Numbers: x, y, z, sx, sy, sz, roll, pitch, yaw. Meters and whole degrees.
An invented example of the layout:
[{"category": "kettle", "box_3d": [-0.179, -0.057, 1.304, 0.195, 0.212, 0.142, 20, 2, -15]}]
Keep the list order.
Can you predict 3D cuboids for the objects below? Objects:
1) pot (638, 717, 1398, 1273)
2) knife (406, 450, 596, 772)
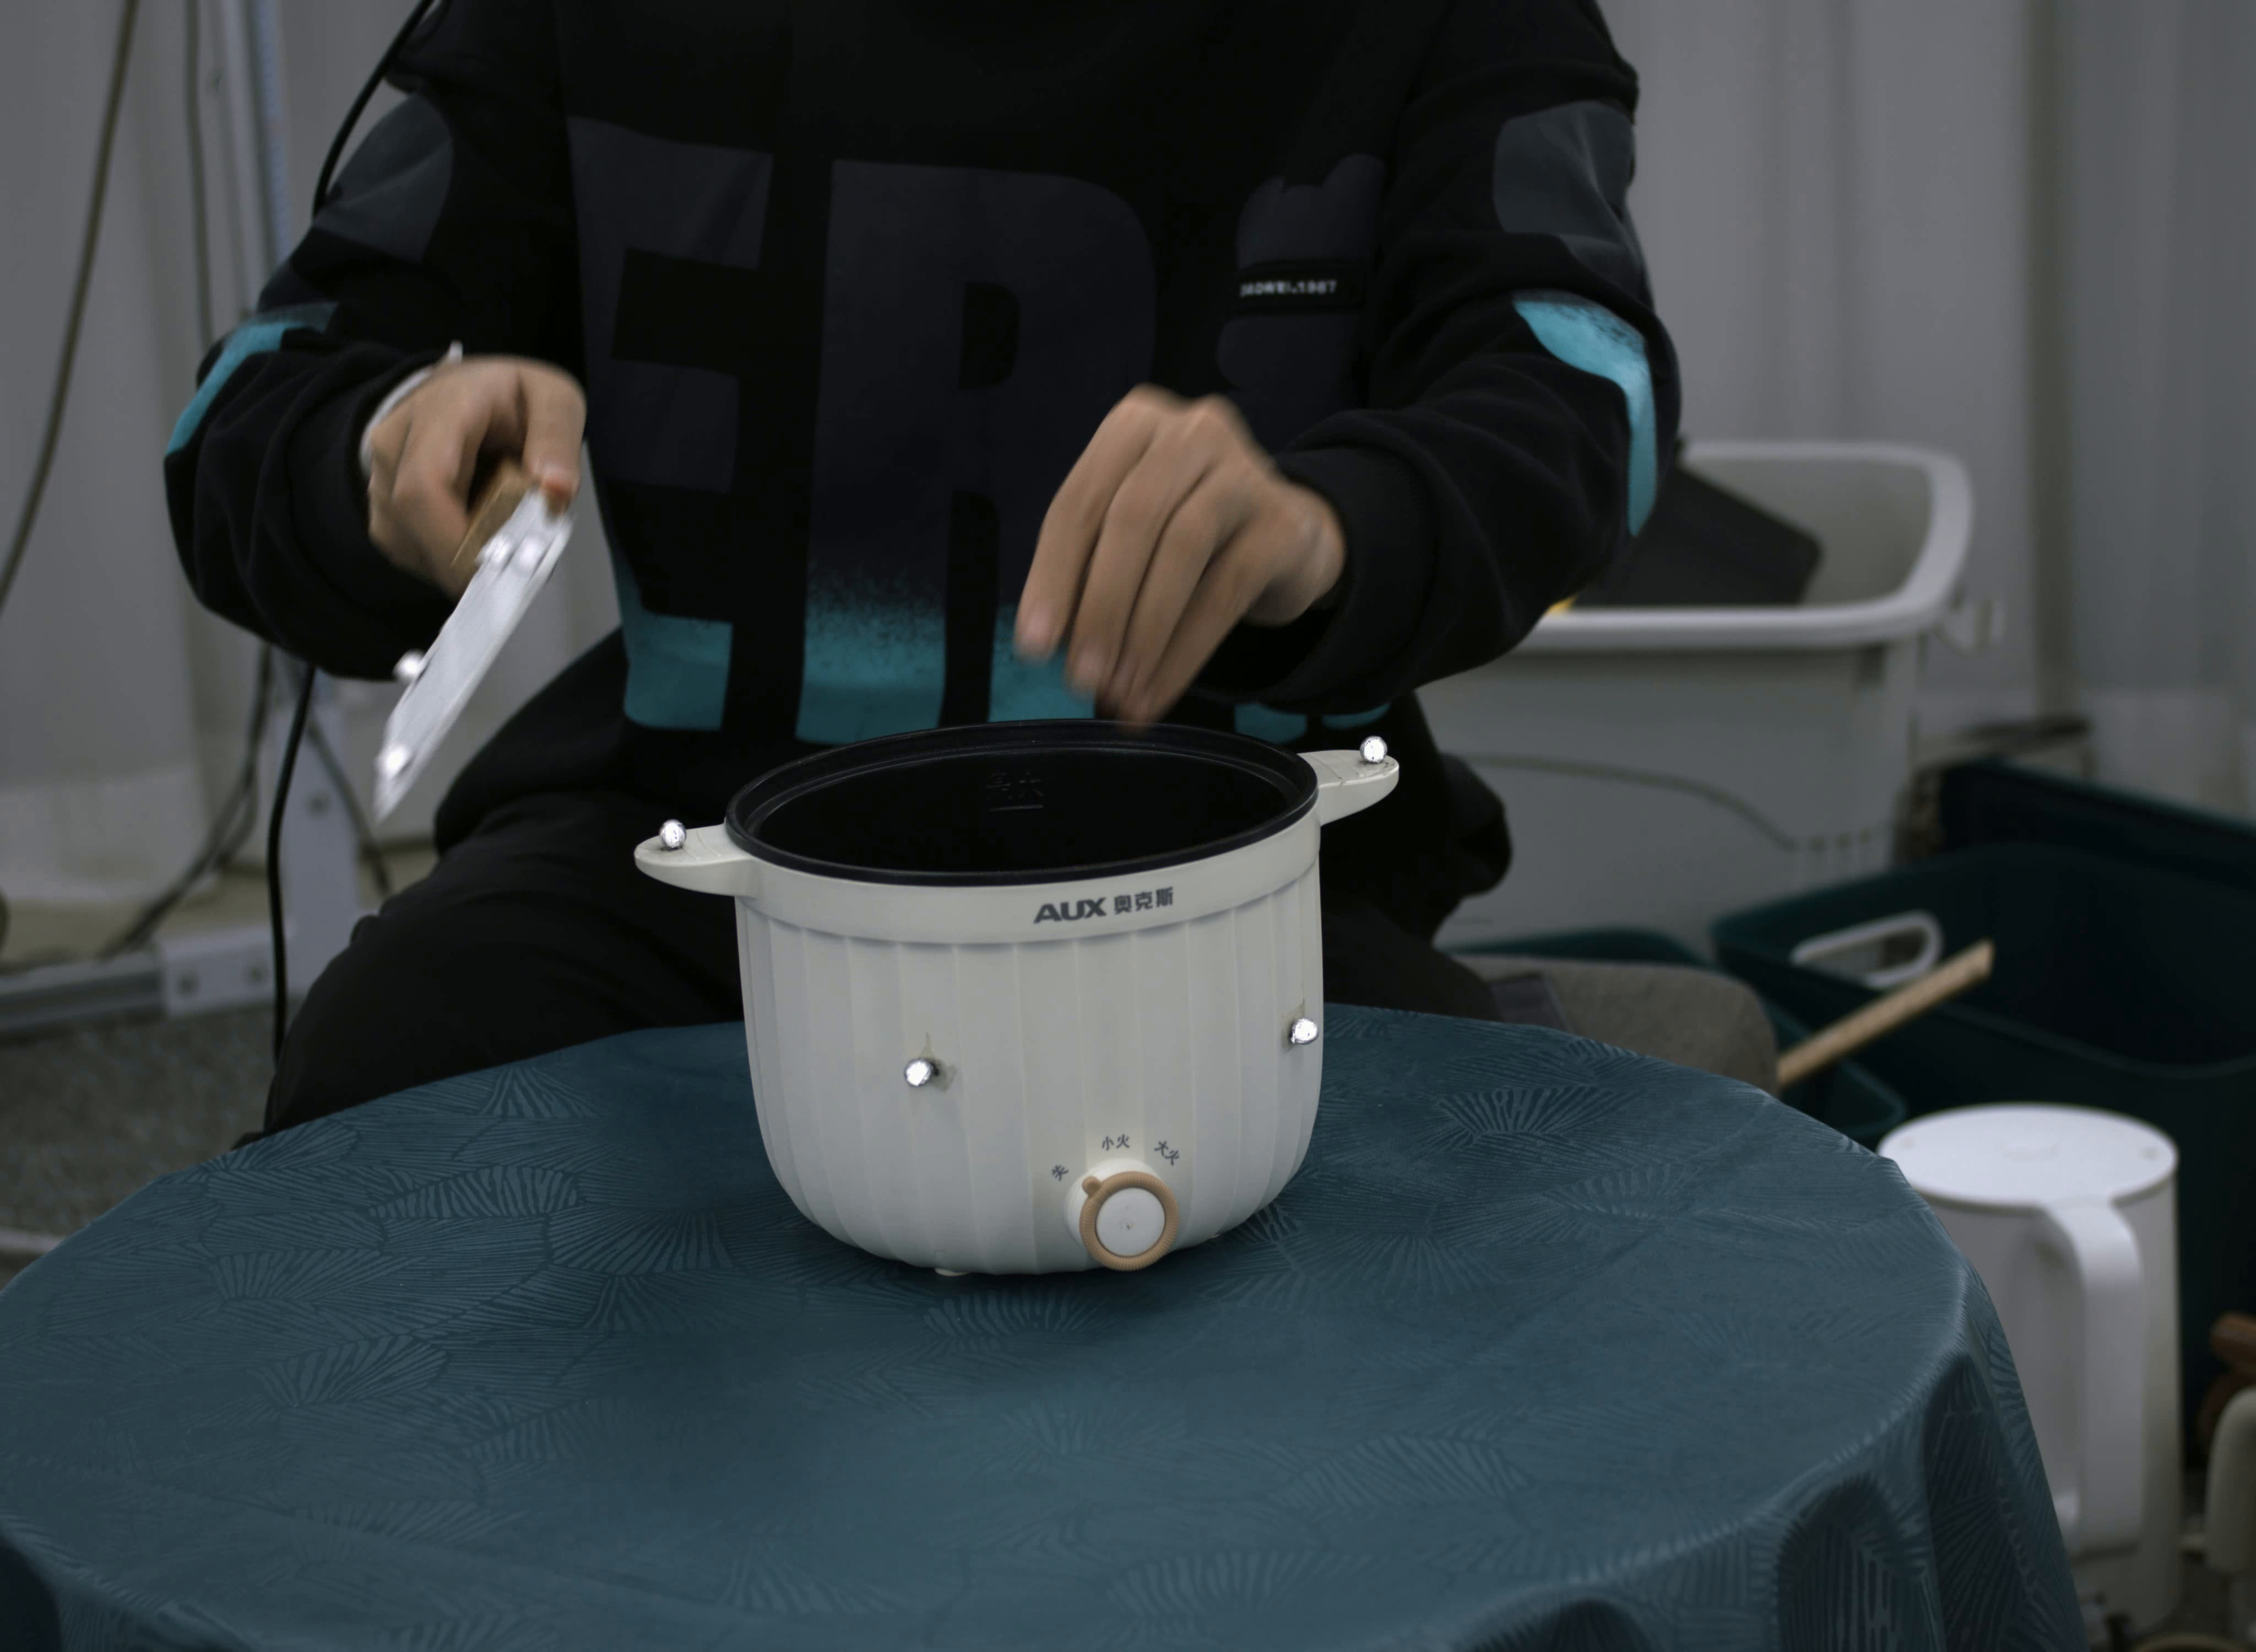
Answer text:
[{"category": "pot", "box_3d": [-0.026, 0.054, 1.678, 0.239, 0.142, 0.192, -8, 12, -15]}, {"category": "knife", "box_3d": [-0.197, -0.080, 1.714, 0.021, 0.114, 0.317, 30, 8, -12]}]
